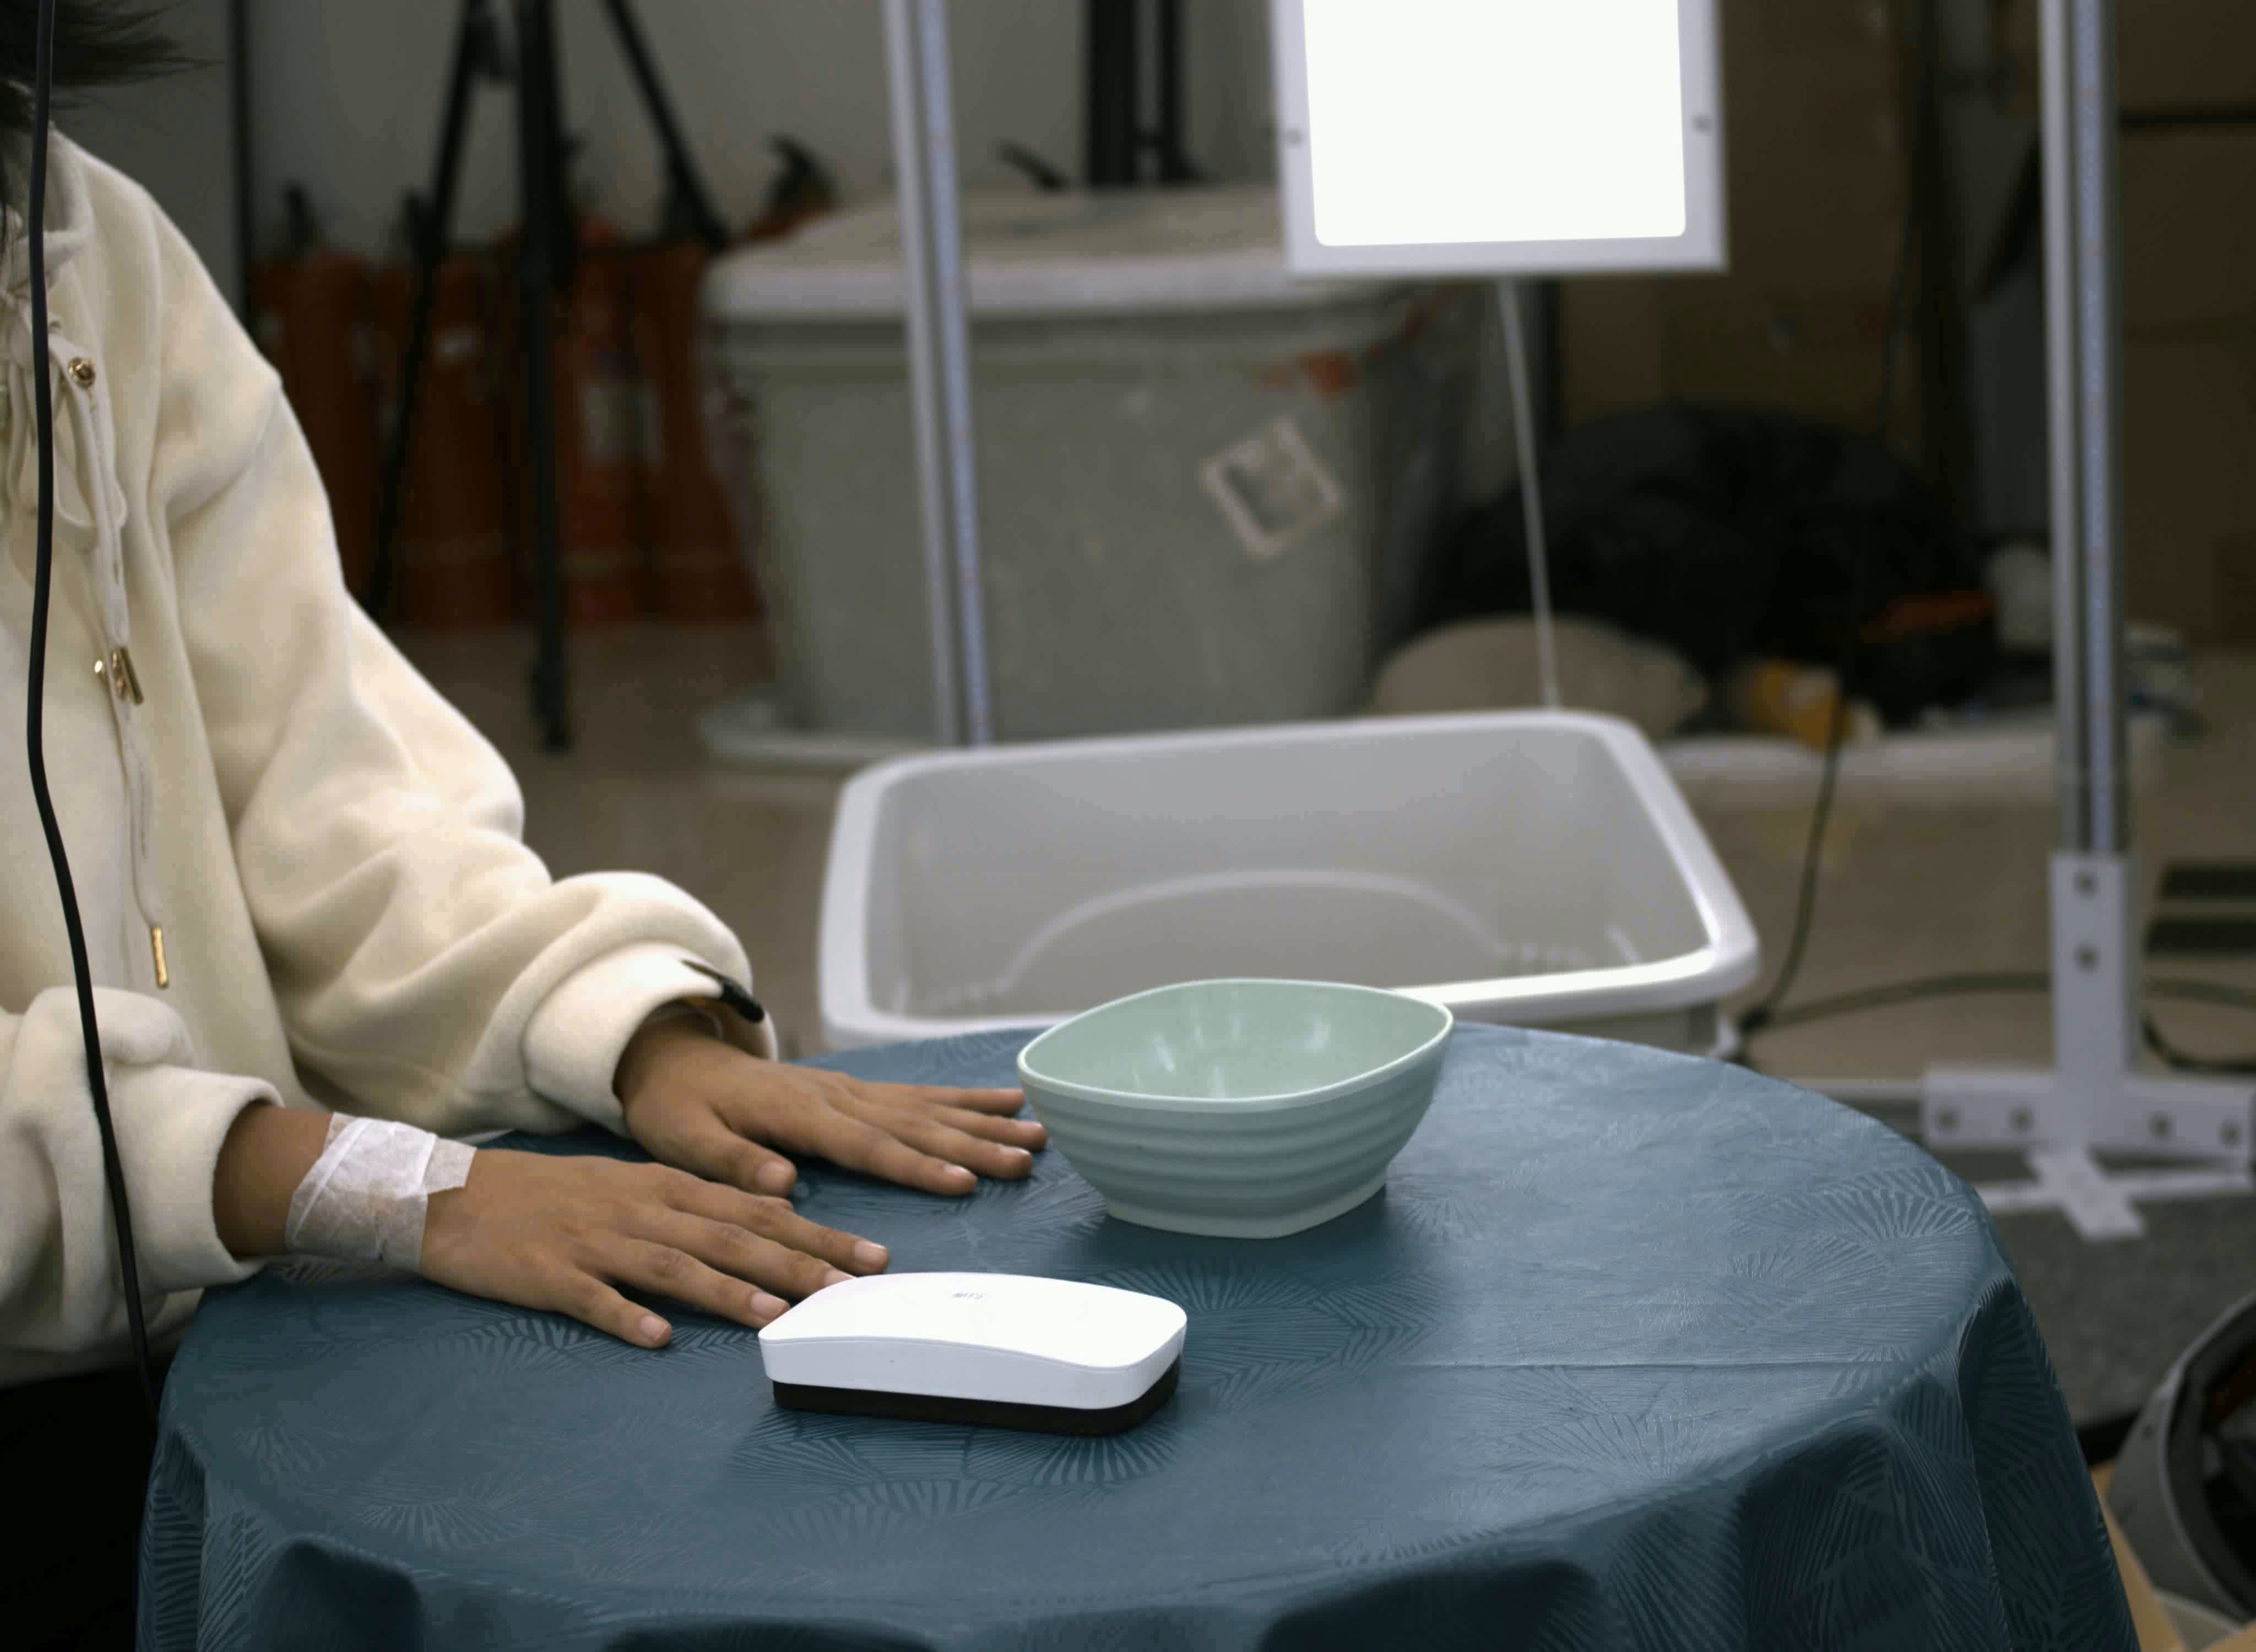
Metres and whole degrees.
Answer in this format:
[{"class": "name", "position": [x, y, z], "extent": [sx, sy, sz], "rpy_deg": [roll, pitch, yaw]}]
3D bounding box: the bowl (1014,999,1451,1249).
[{"class": "bowl", "position": [0.038, 0.104, 1.872], "extent": [0.151, 0.059, 0.151], "rpy_deg": [-6, 12, 0]}]

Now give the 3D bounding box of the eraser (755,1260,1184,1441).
[{"class": "eraser", "position": [-0.048, 0.162, 1.708], "extent": [0.133, 0.034, 0.062], "rpy_deg": [3, 16, 27]}]
